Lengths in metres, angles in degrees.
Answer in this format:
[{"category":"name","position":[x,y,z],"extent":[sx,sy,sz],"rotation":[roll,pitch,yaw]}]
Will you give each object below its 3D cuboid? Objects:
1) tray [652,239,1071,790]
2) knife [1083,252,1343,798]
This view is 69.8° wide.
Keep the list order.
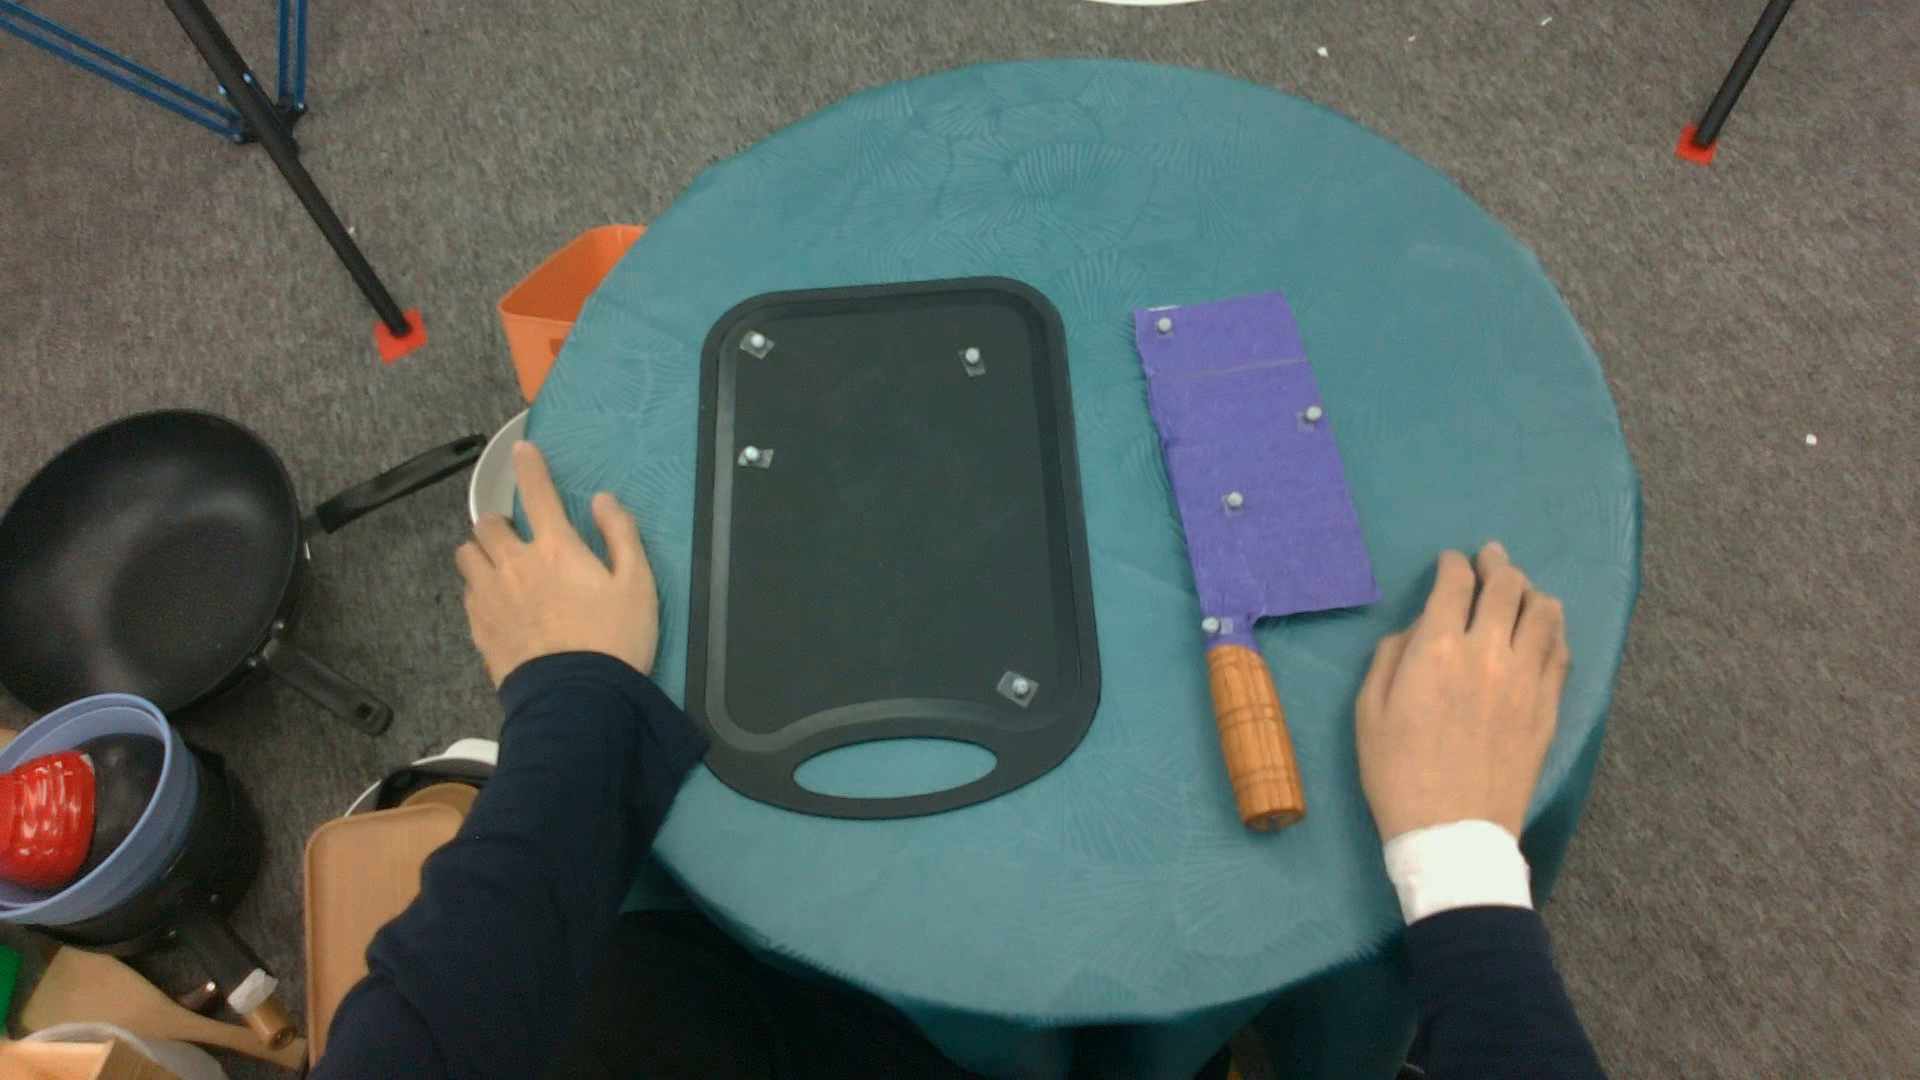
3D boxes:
[{"category":"tray","position":[-0.054,-0.027,0.730],"extent":[0.211,0.010,0.326],"rotation":[-4,63,0]},{"category":"knife","position":[0.143,-0.026,0.711],"extent":[0.104,0.032,0.316],"rotation":[-8,63,-2]}]
